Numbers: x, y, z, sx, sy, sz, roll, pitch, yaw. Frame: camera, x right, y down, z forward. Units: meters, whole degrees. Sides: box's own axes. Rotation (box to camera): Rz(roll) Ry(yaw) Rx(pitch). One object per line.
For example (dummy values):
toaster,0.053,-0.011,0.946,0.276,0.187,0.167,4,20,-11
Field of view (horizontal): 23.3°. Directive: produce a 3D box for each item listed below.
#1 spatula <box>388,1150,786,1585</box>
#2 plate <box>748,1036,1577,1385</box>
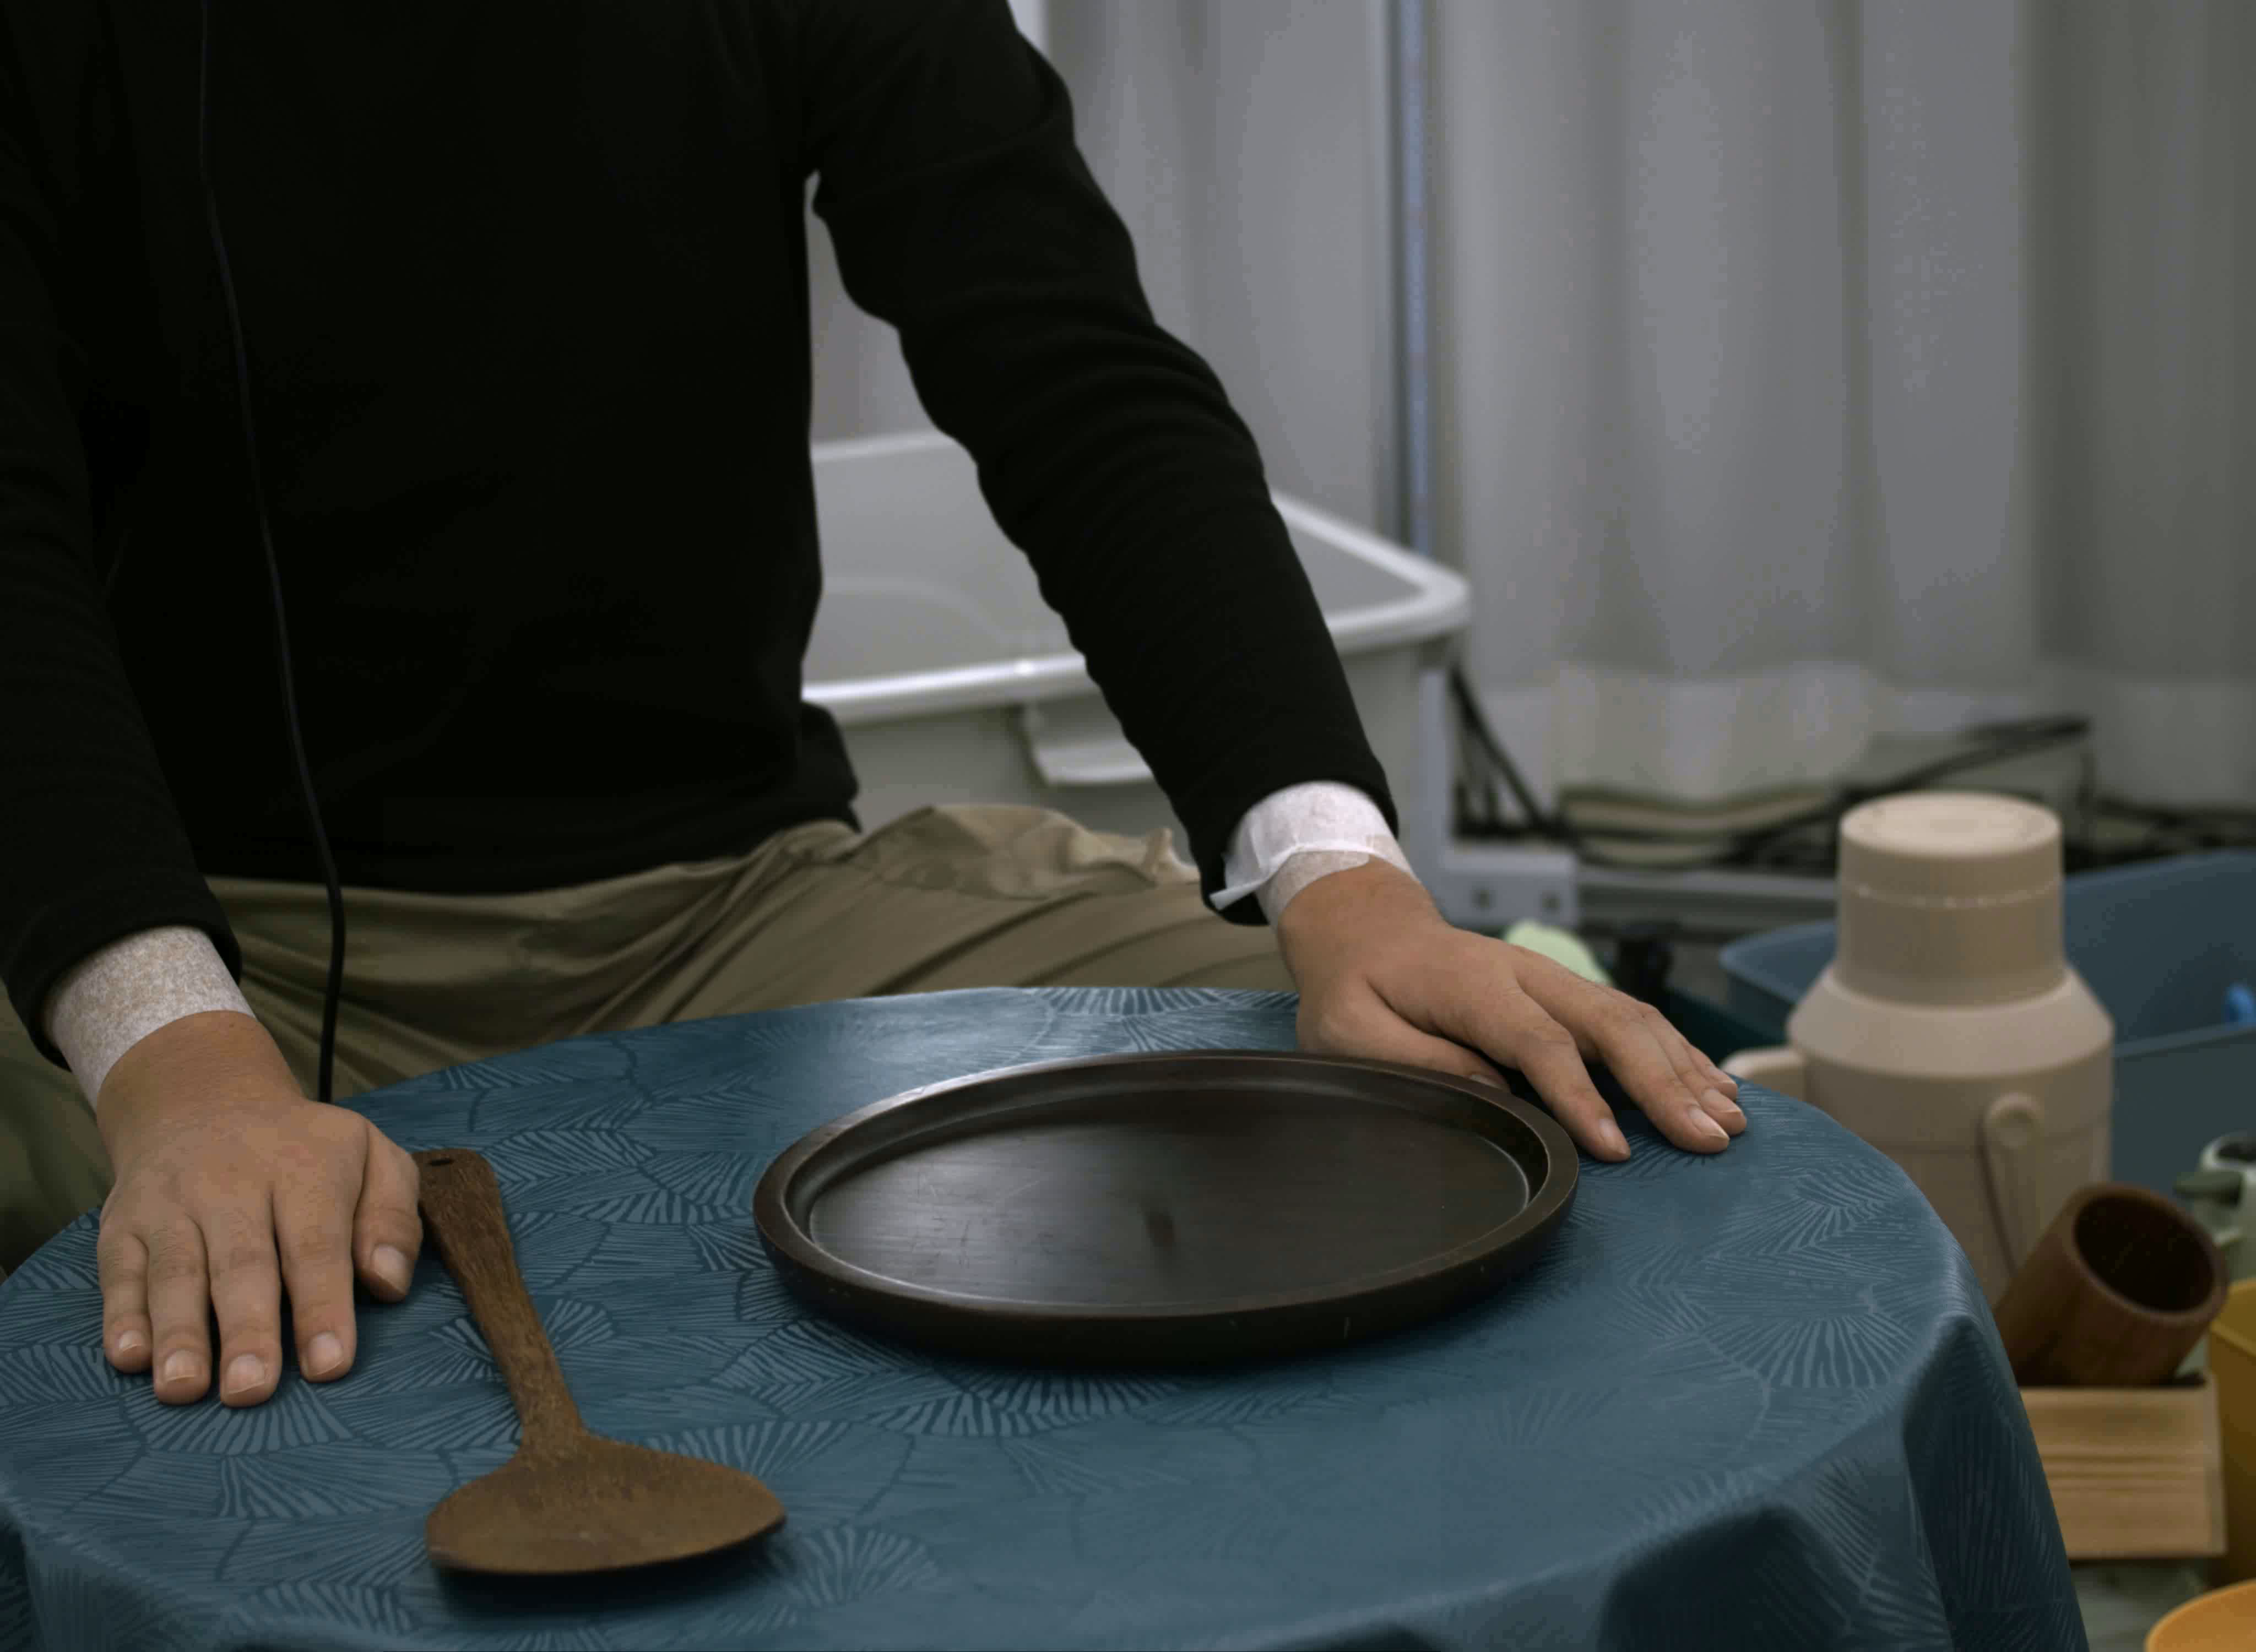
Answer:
spatula,-0.178,0.150,1.588,0.095,0.016,0.389,-6,15,-14
plate,0.011,0.116,1.666,0.254,0.029,0.256,-3,16,1
